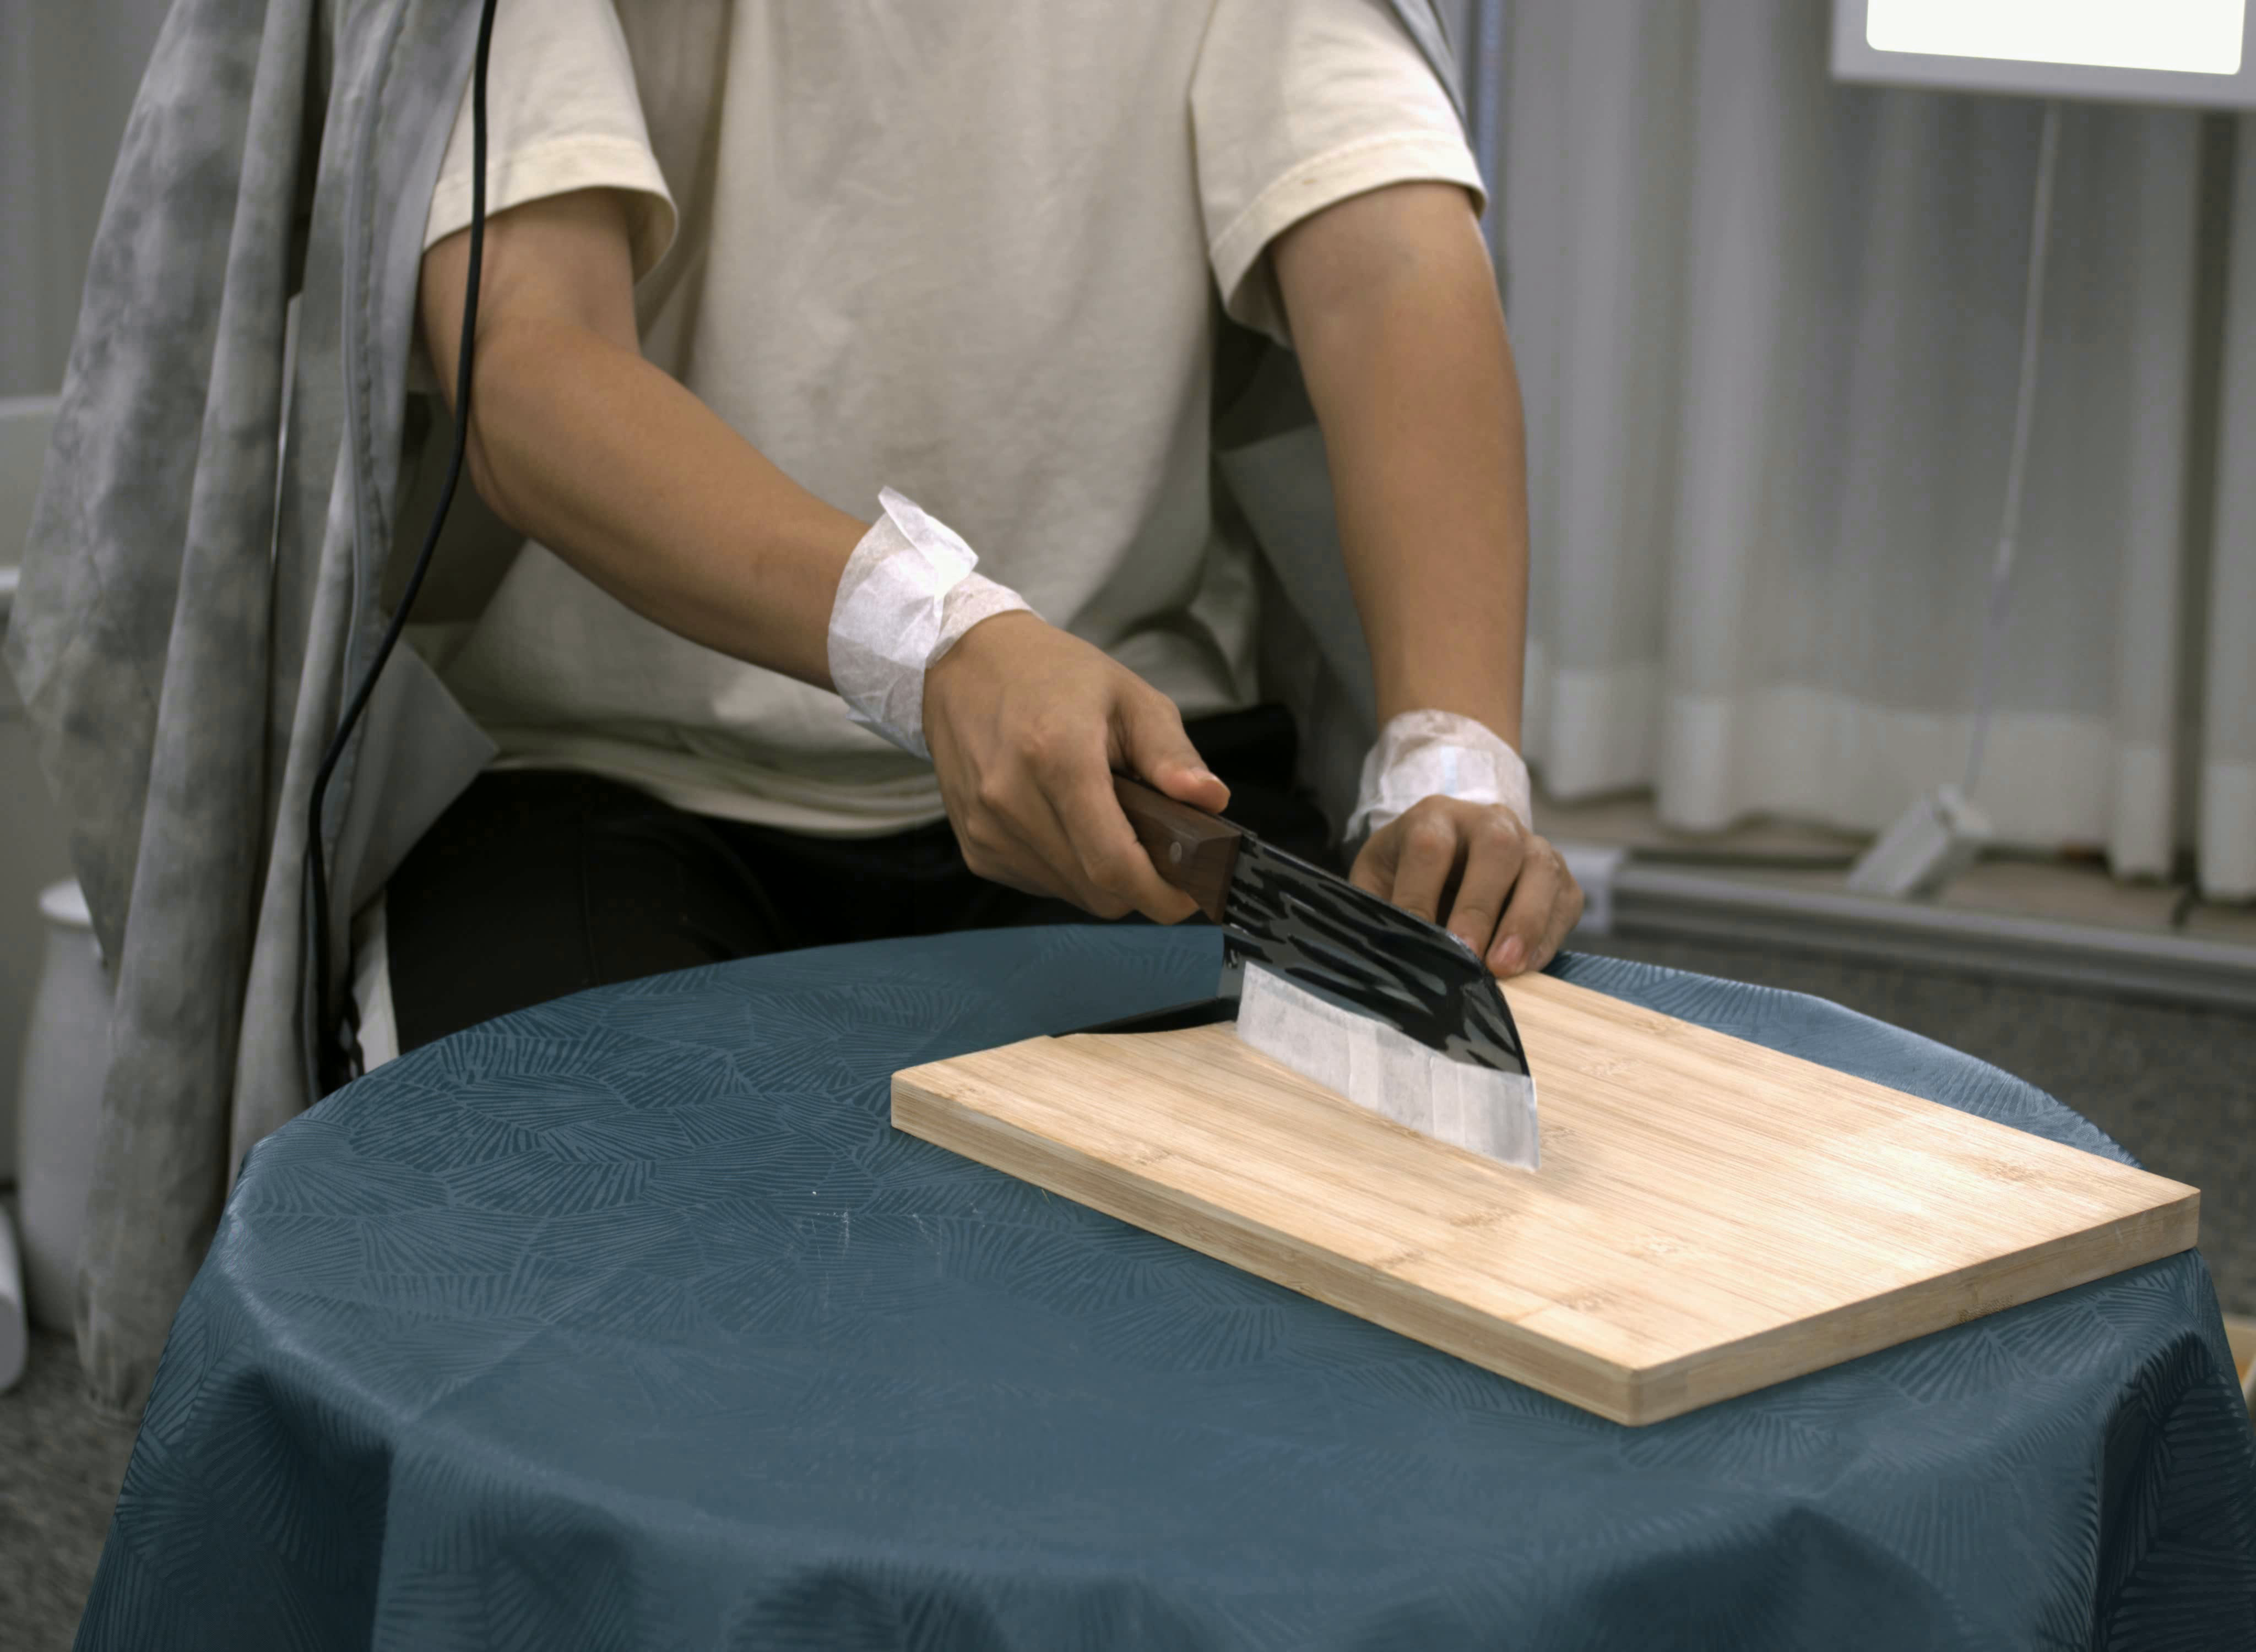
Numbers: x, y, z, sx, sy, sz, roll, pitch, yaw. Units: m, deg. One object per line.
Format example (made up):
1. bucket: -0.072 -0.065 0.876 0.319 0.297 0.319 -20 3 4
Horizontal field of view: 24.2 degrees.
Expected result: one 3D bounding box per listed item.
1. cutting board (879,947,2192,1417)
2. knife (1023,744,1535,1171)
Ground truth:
1. cutting board: 0.120 0.102 1.638 0.252 0.024 0.344 -12 20 -40
2. knife: 0.046 0.039 1.682 0.024 0.068 0.295 -3 18 -33
